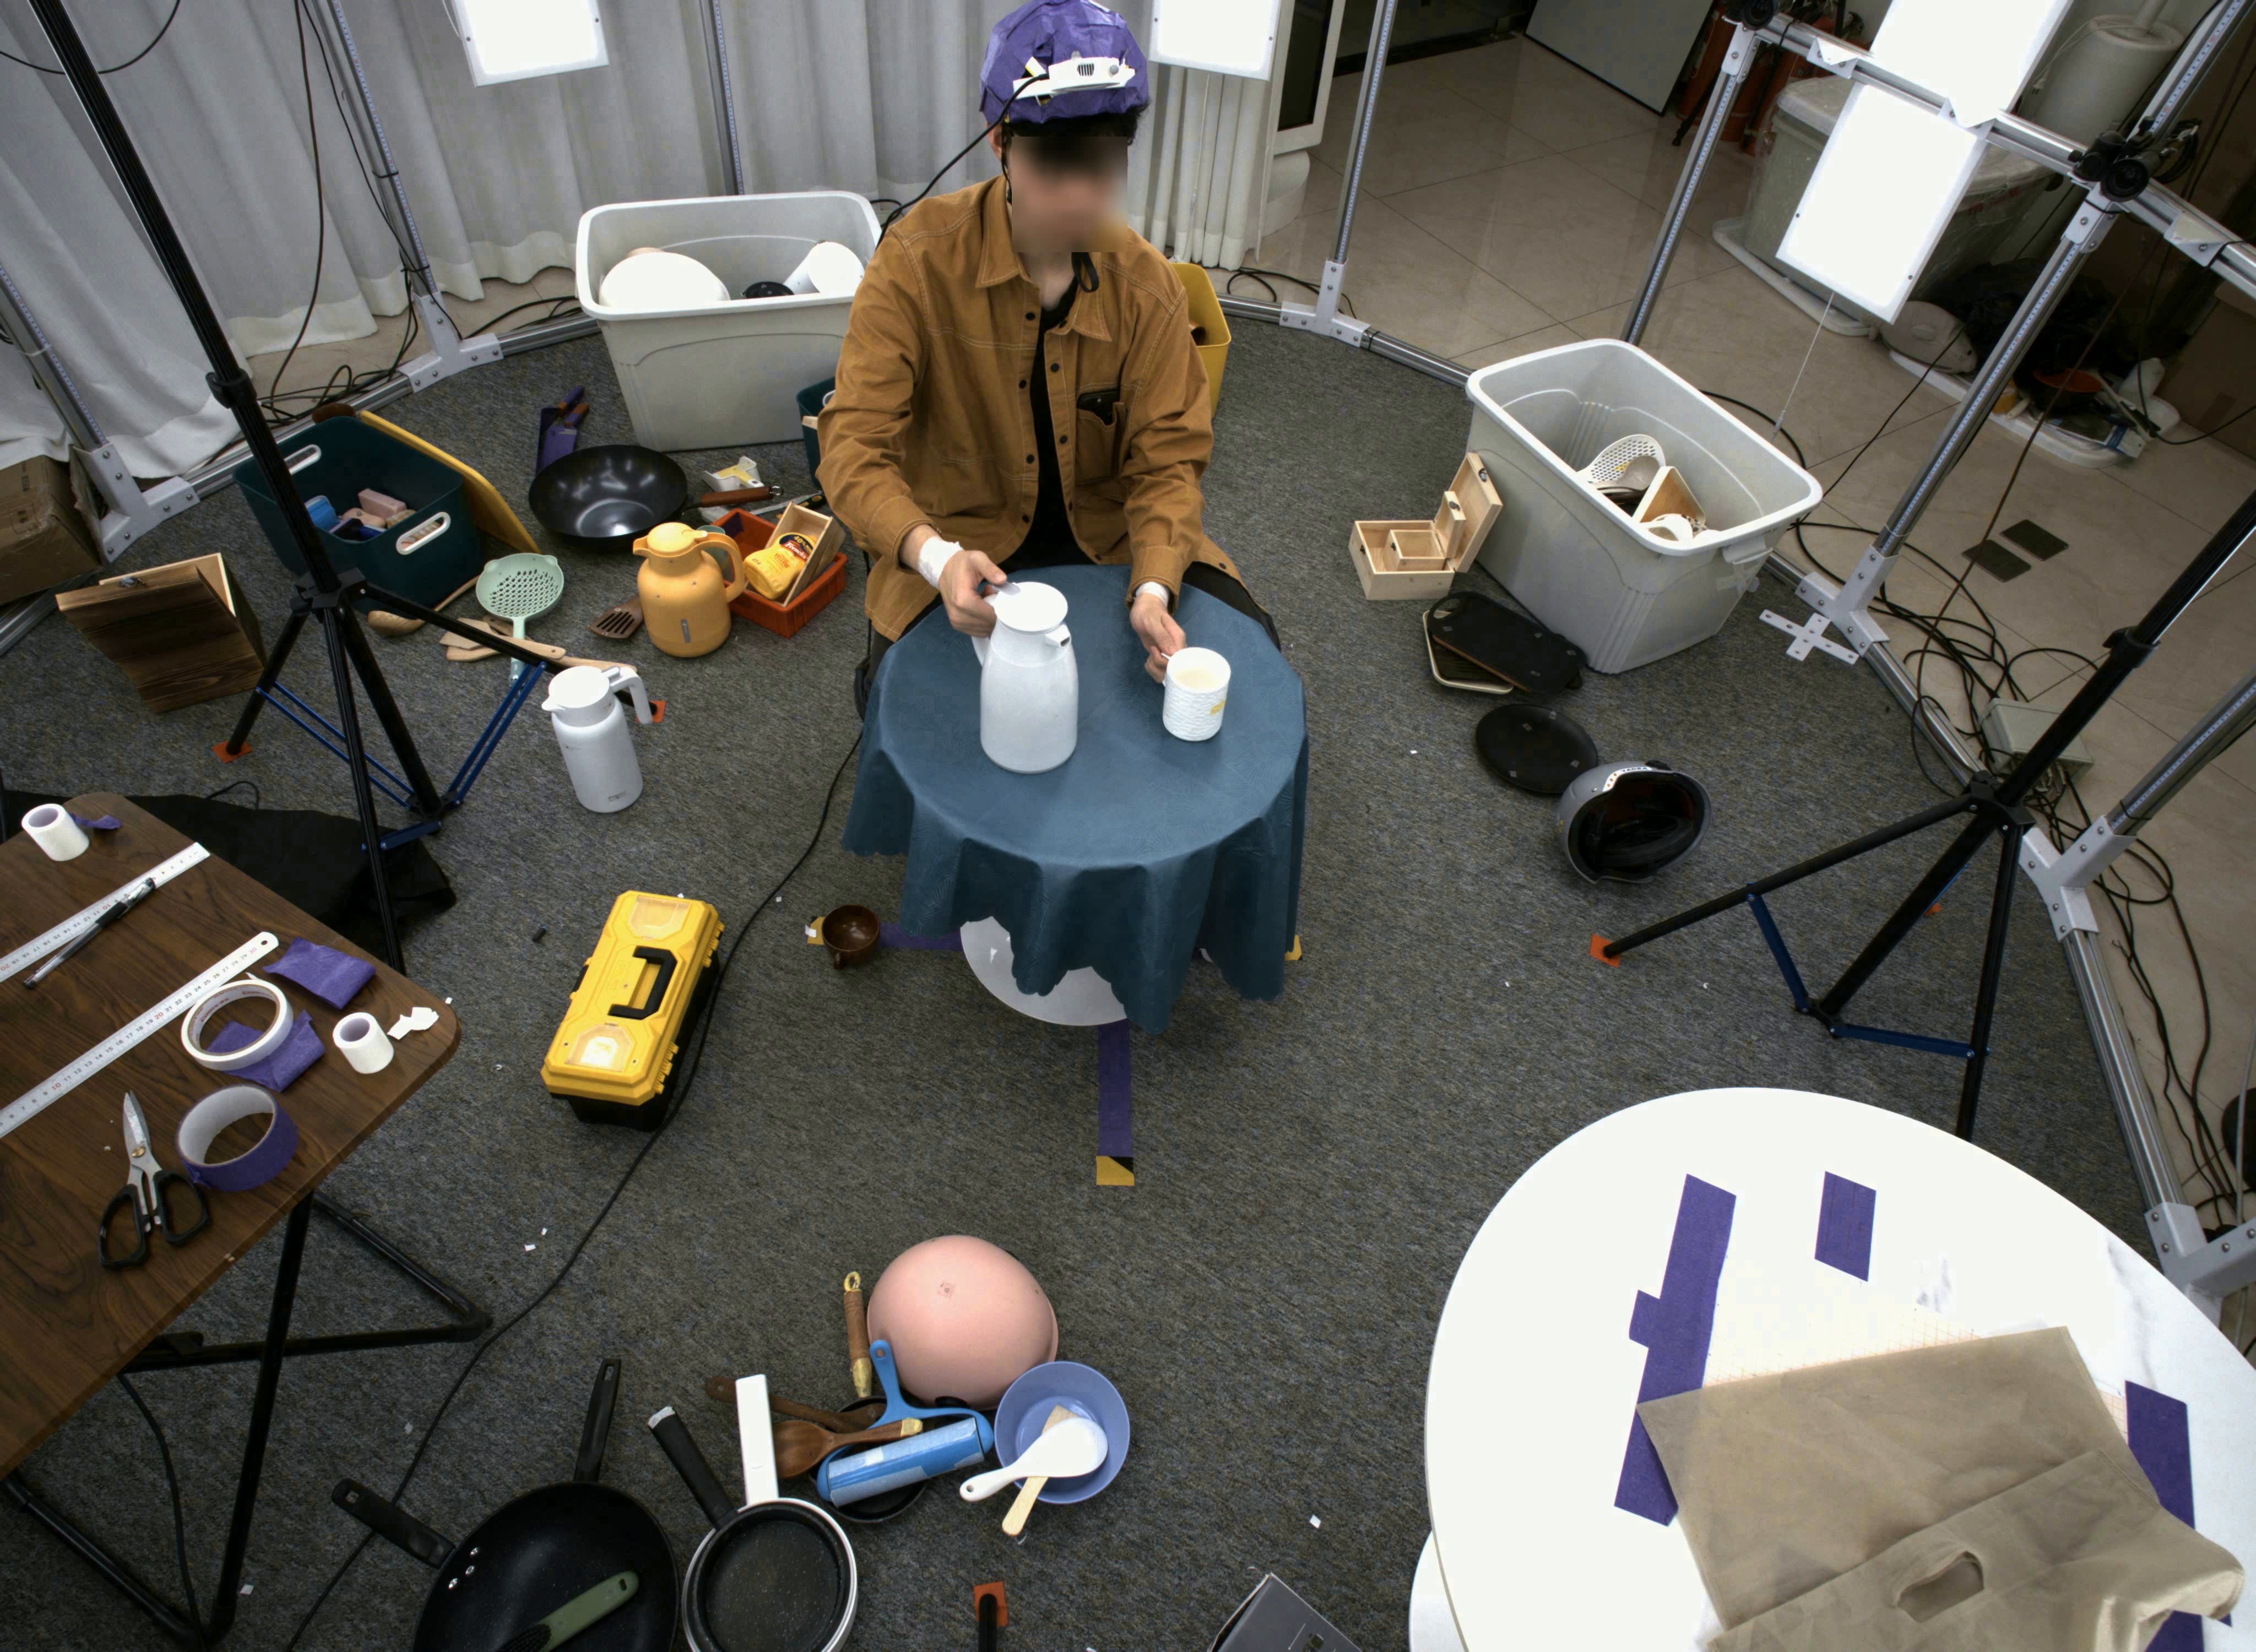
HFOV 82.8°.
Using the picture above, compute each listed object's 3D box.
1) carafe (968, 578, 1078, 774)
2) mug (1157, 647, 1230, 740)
[{"bbox_3d":[-0.145,-0.208,1.681,0.170,0.242,0.134,36,57,24],"label":"carafe"},{"bbox_3d":[0.082,-0.190,1.772,0.085,0.099,0.120,-30,58,-27],"label":"mug"}]
